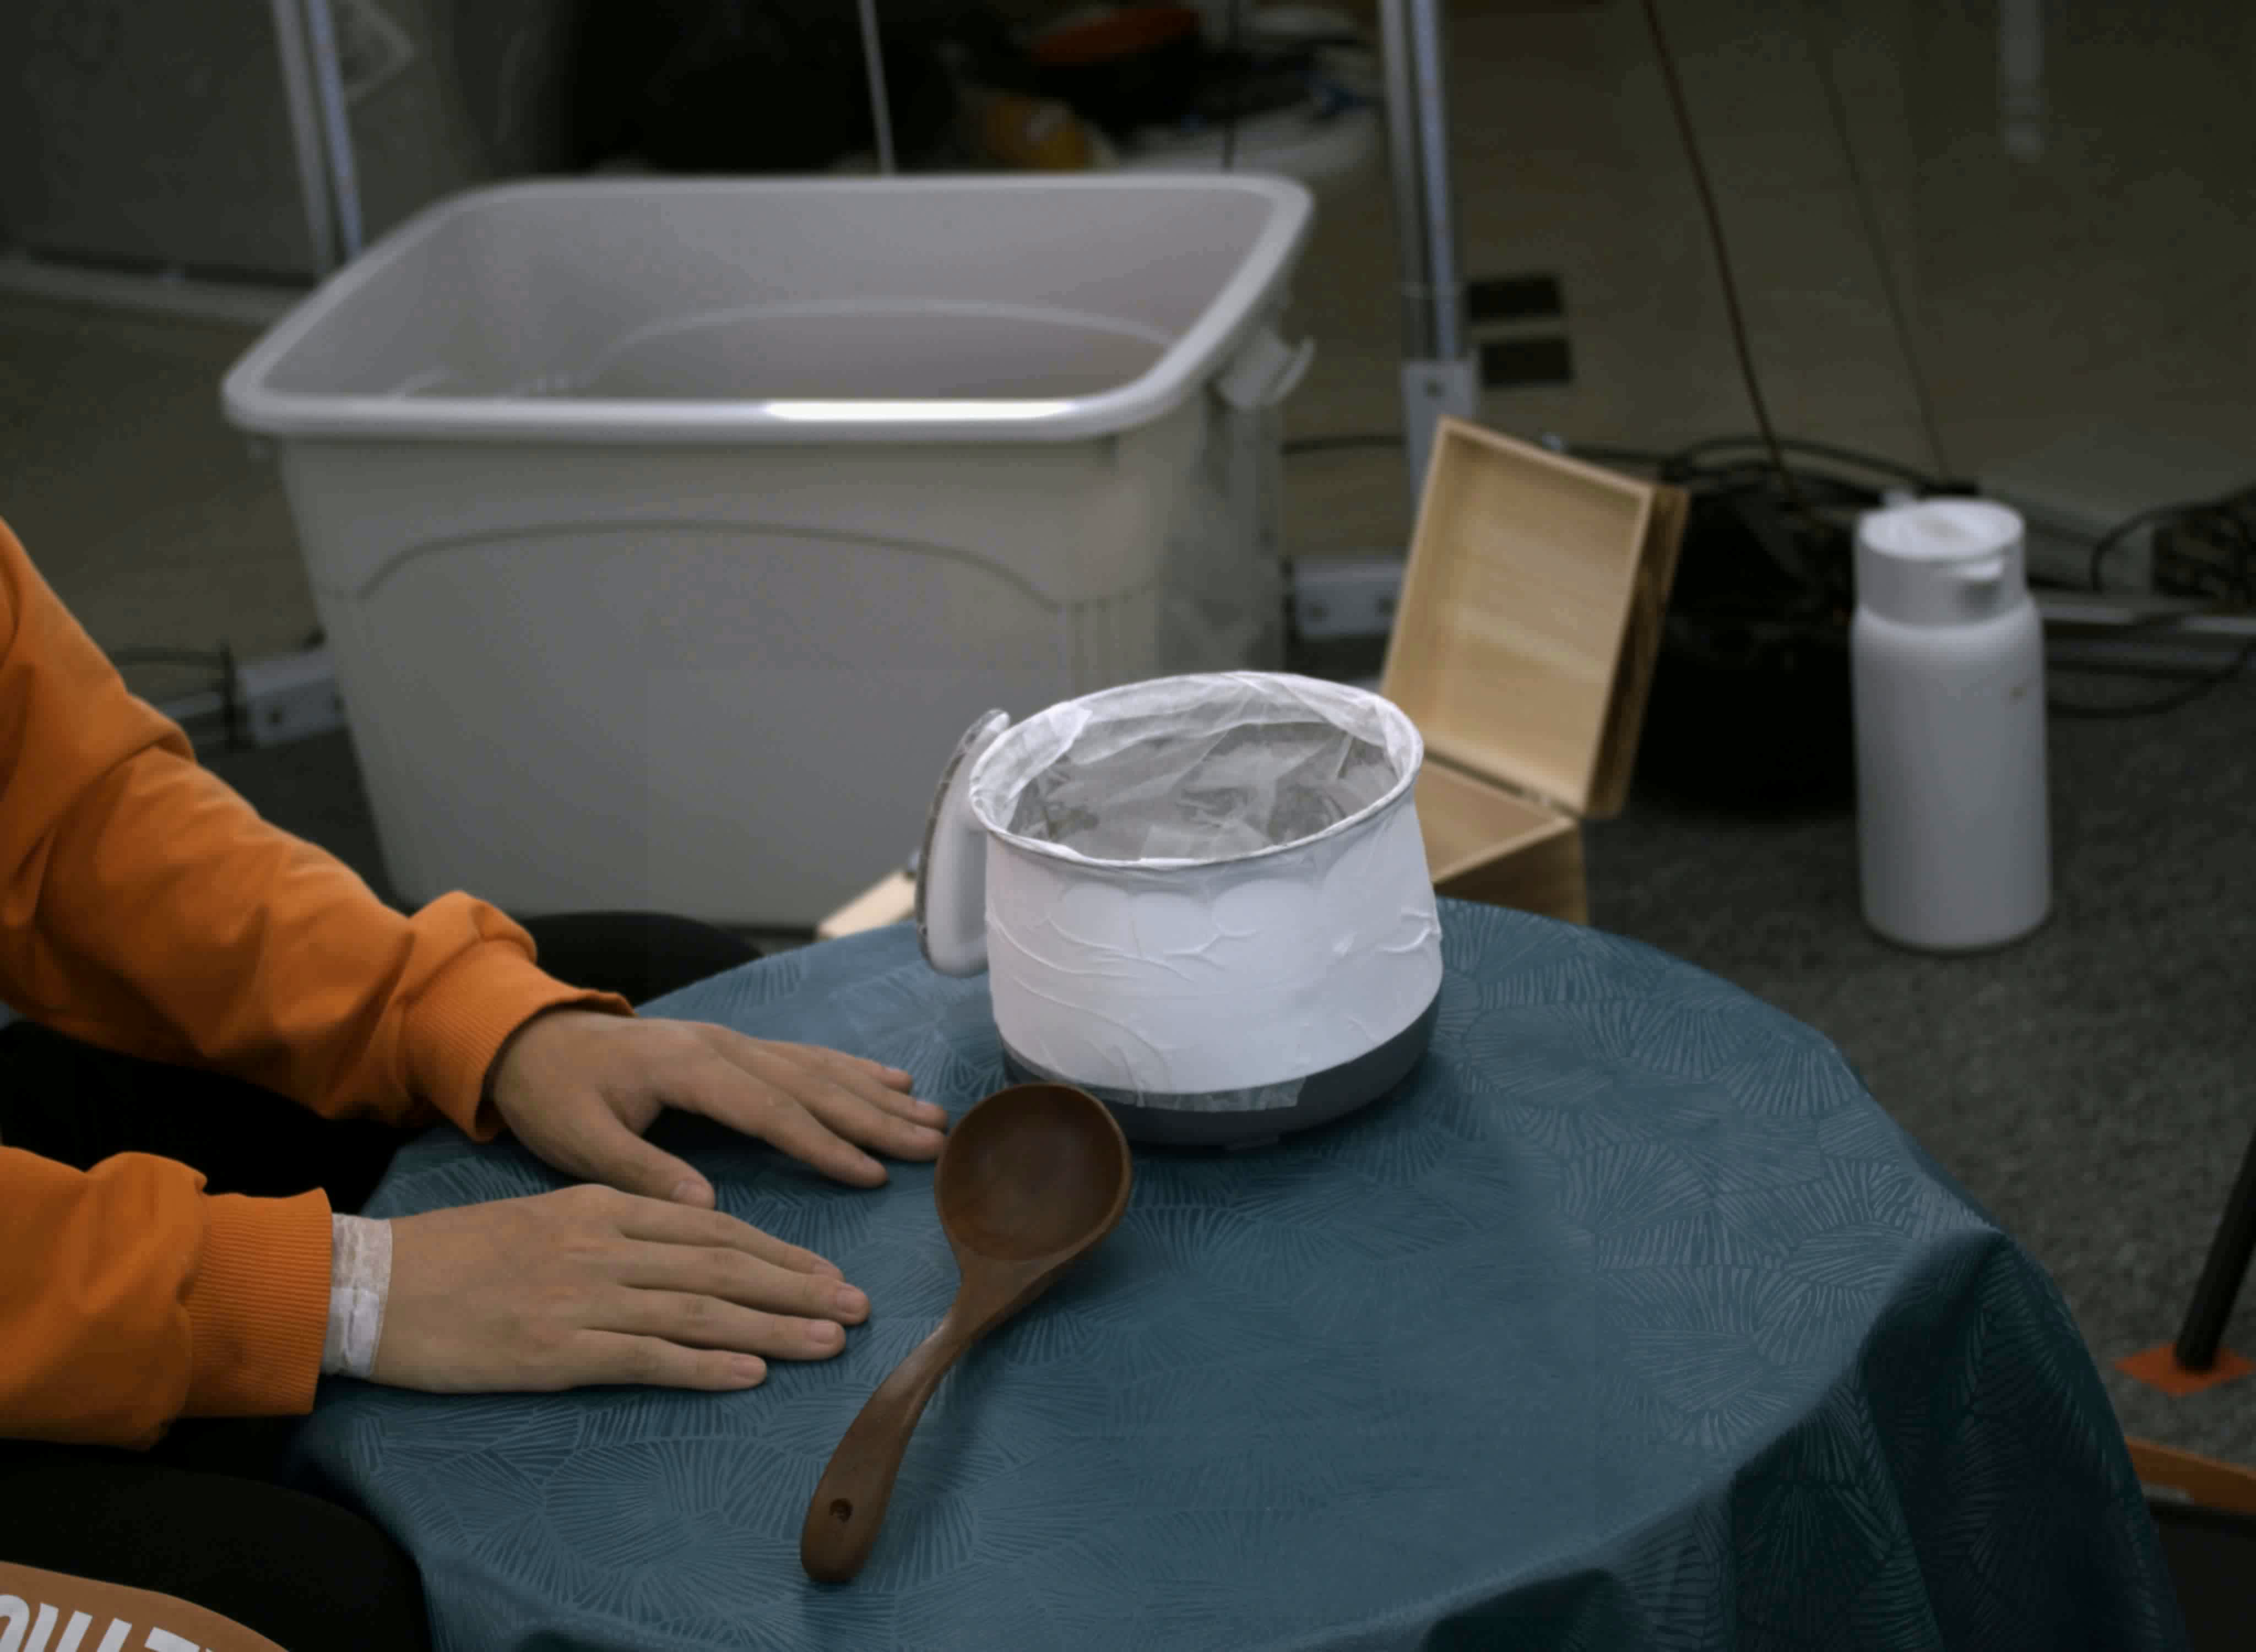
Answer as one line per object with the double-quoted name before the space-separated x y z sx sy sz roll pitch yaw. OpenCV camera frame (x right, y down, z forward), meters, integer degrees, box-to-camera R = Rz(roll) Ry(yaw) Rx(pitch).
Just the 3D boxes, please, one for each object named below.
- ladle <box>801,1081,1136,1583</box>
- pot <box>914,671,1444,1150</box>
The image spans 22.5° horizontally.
"ladle" -0.065 0.174 2.011 0.076 0.066 0.256 1 26 21
"pot" 0.010 0.029 2.215 0.232 0.139 0.177 12 31 34
